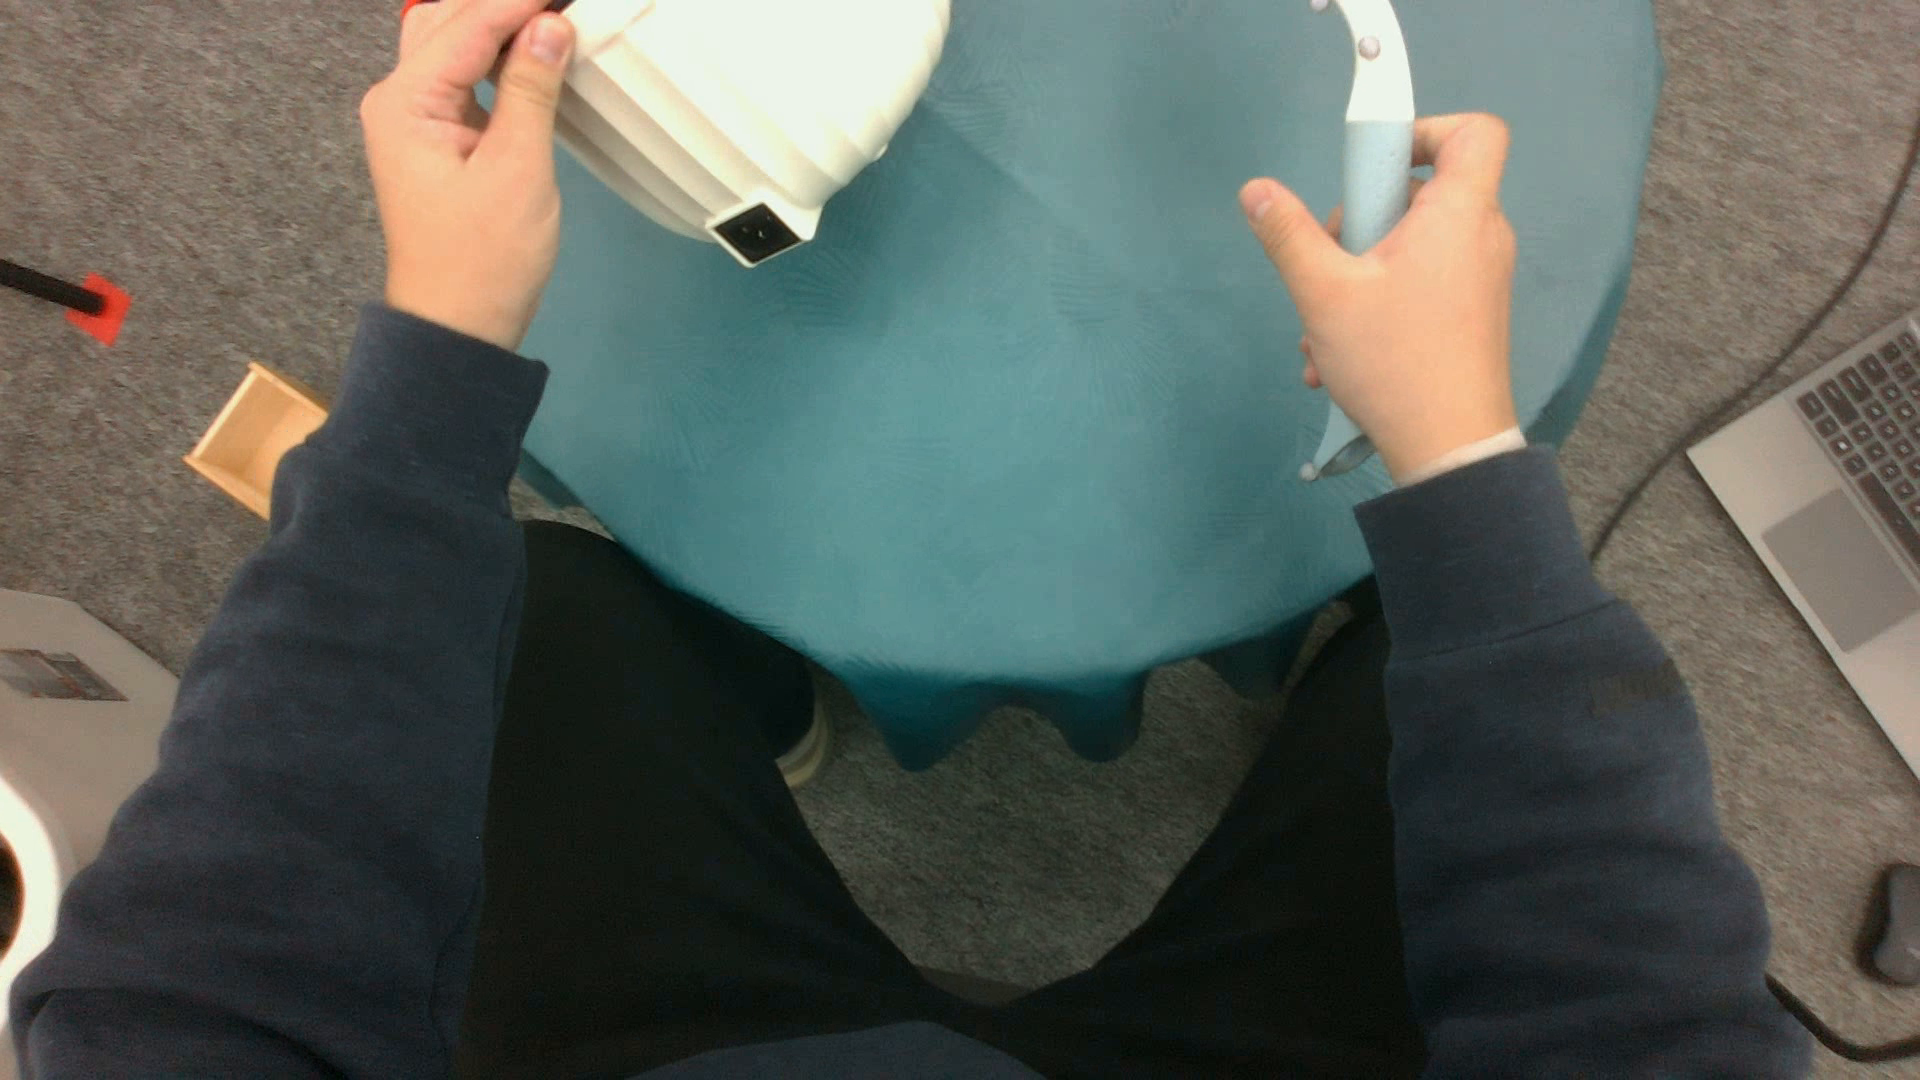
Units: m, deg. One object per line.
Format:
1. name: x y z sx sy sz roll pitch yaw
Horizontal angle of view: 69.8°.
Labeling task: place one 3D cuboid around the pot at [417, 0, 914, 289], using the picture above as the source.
1. pot: -0.117 -0.222 0.610 0.239 0.142 0.191 -18 55 33

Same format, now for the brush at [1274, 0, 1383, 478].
1. brush: 0.124 -0.188 0.555 0.083 0.085 0.325 -1 101 8
